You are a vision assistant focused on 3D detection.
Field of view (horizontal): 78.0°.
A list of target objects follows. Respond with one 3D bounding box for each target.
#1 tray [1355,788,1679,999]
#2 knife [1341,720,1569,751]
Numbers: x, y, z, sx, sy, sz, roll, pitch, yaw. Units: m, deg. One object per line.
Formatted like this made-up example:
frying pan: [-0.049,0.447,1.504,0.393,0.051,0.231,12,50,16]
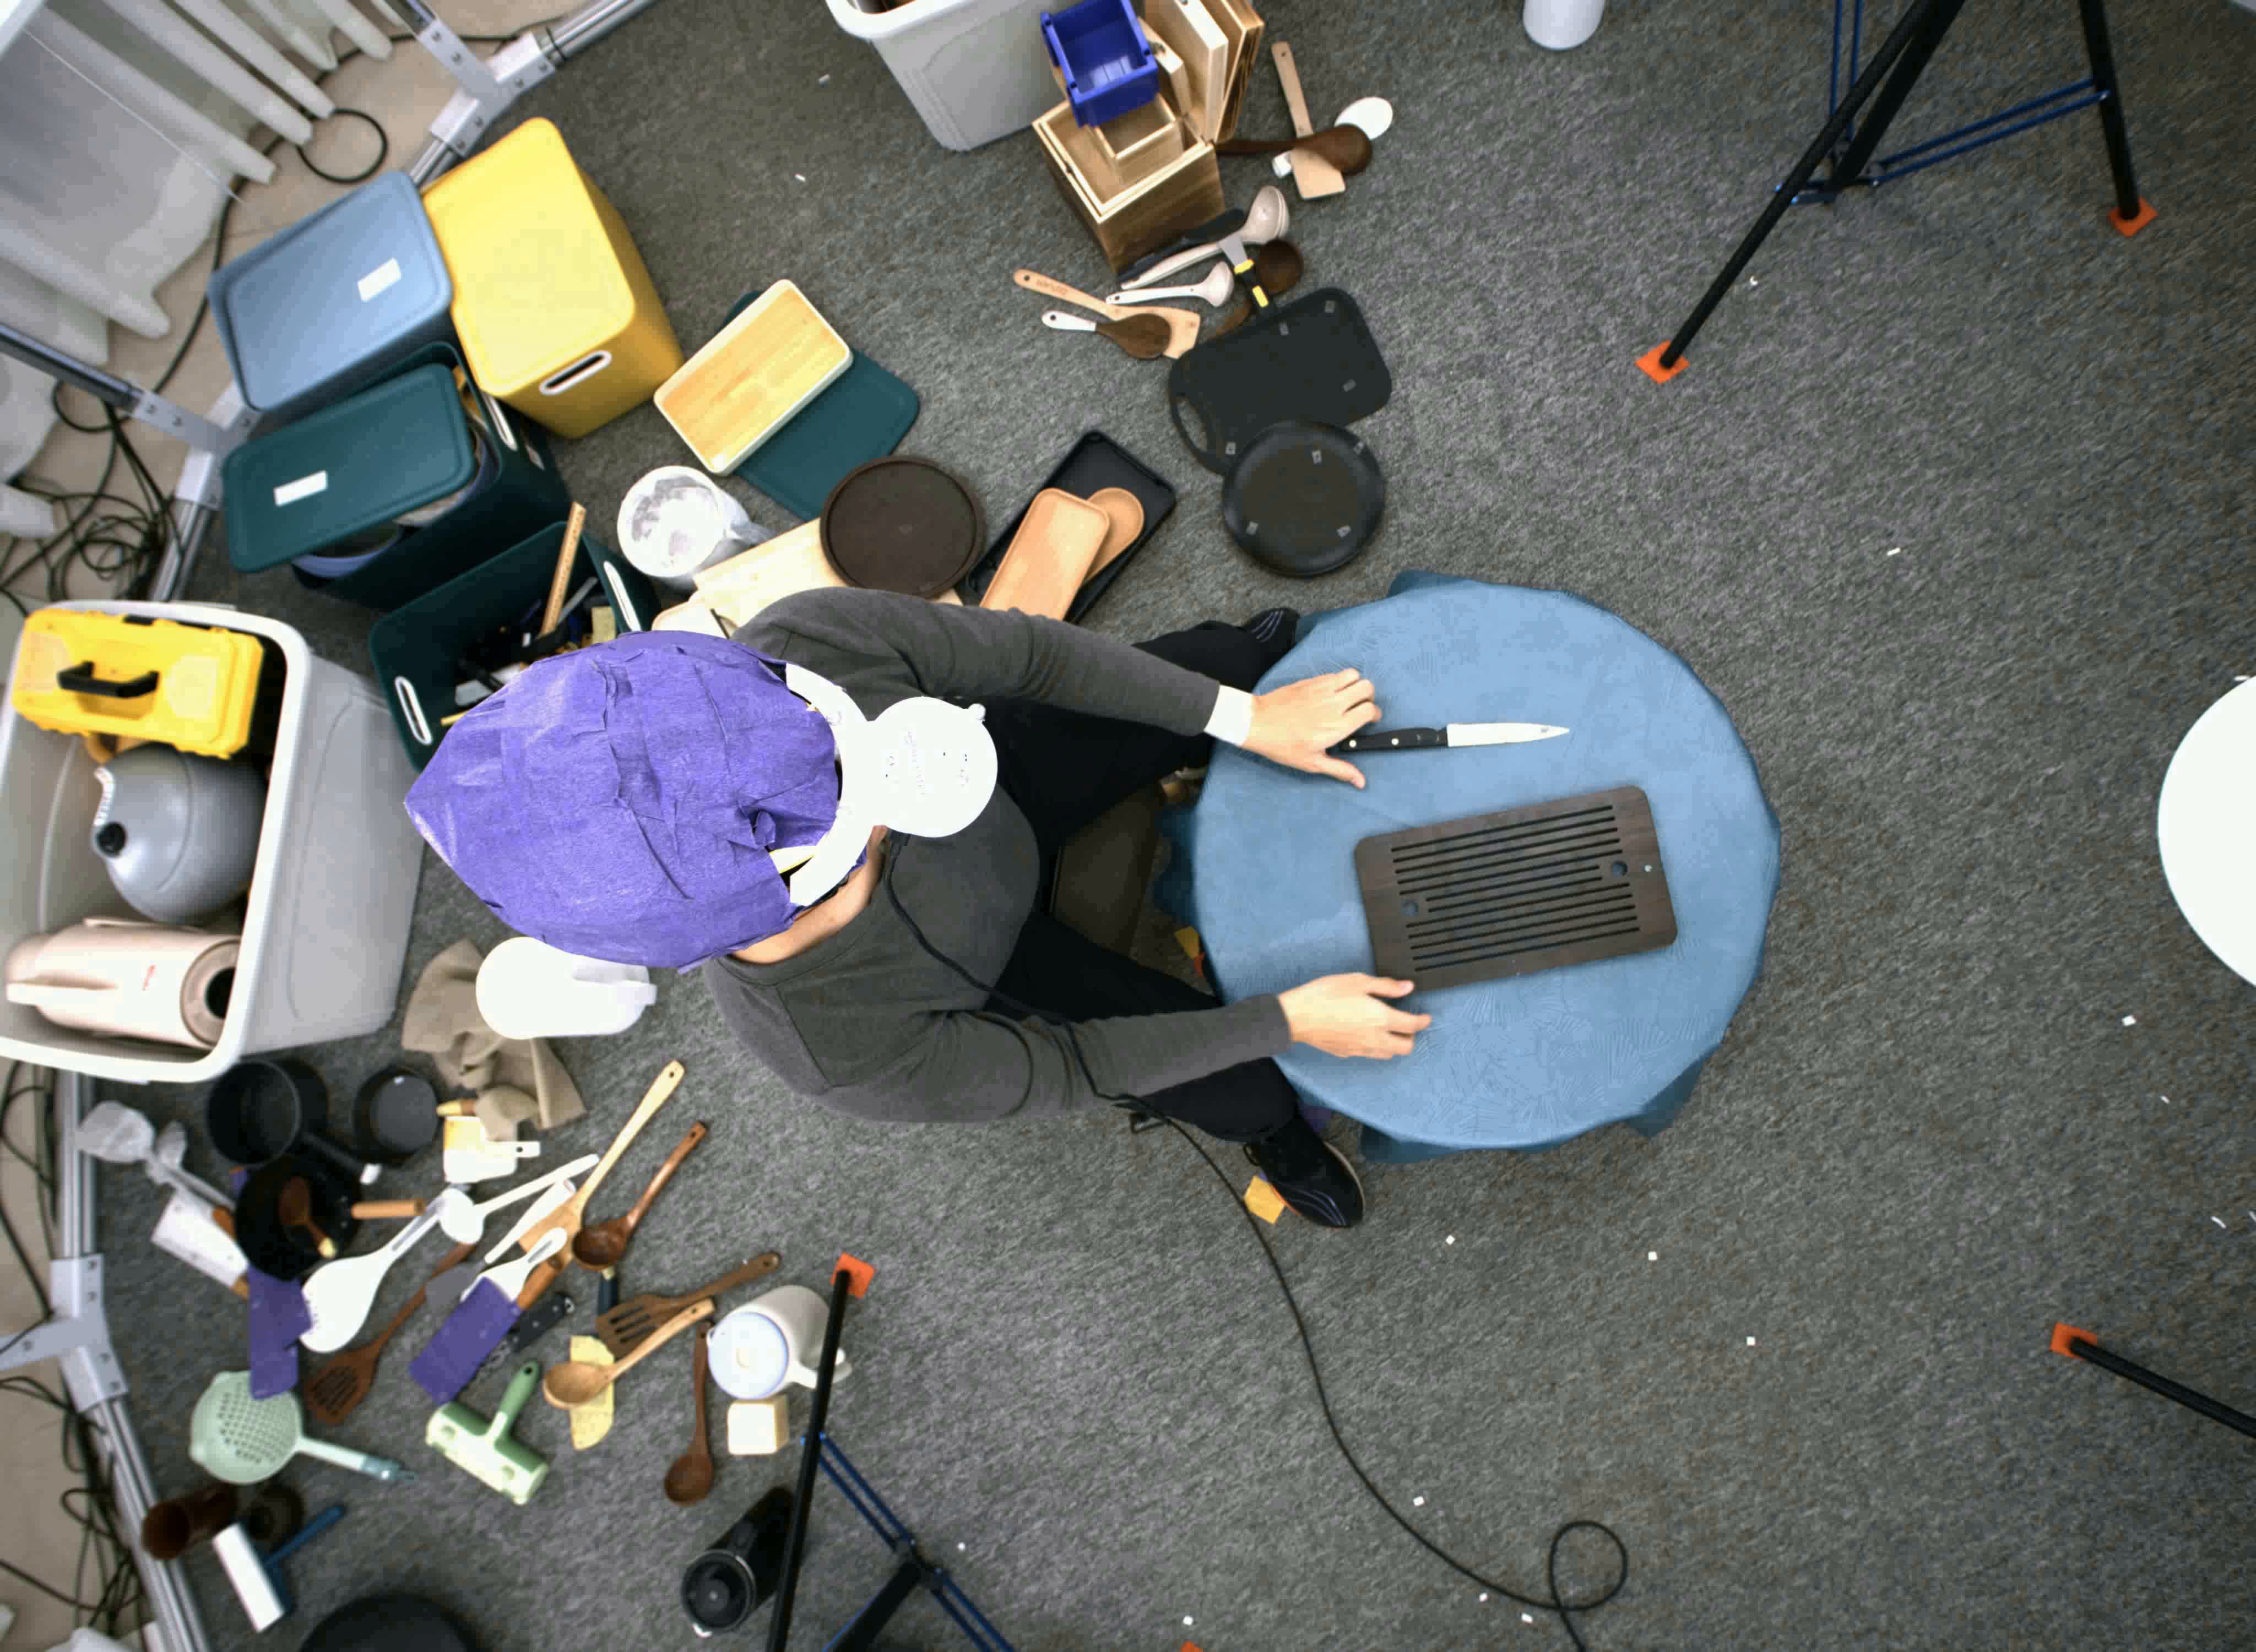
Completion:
tray: [0.400,0.069,1.427,0.307,0.018,0.169,-12,84,10]
knife: [0.346,-0.097,1.450,0.239,0.016,0.024,-4,85,8]
